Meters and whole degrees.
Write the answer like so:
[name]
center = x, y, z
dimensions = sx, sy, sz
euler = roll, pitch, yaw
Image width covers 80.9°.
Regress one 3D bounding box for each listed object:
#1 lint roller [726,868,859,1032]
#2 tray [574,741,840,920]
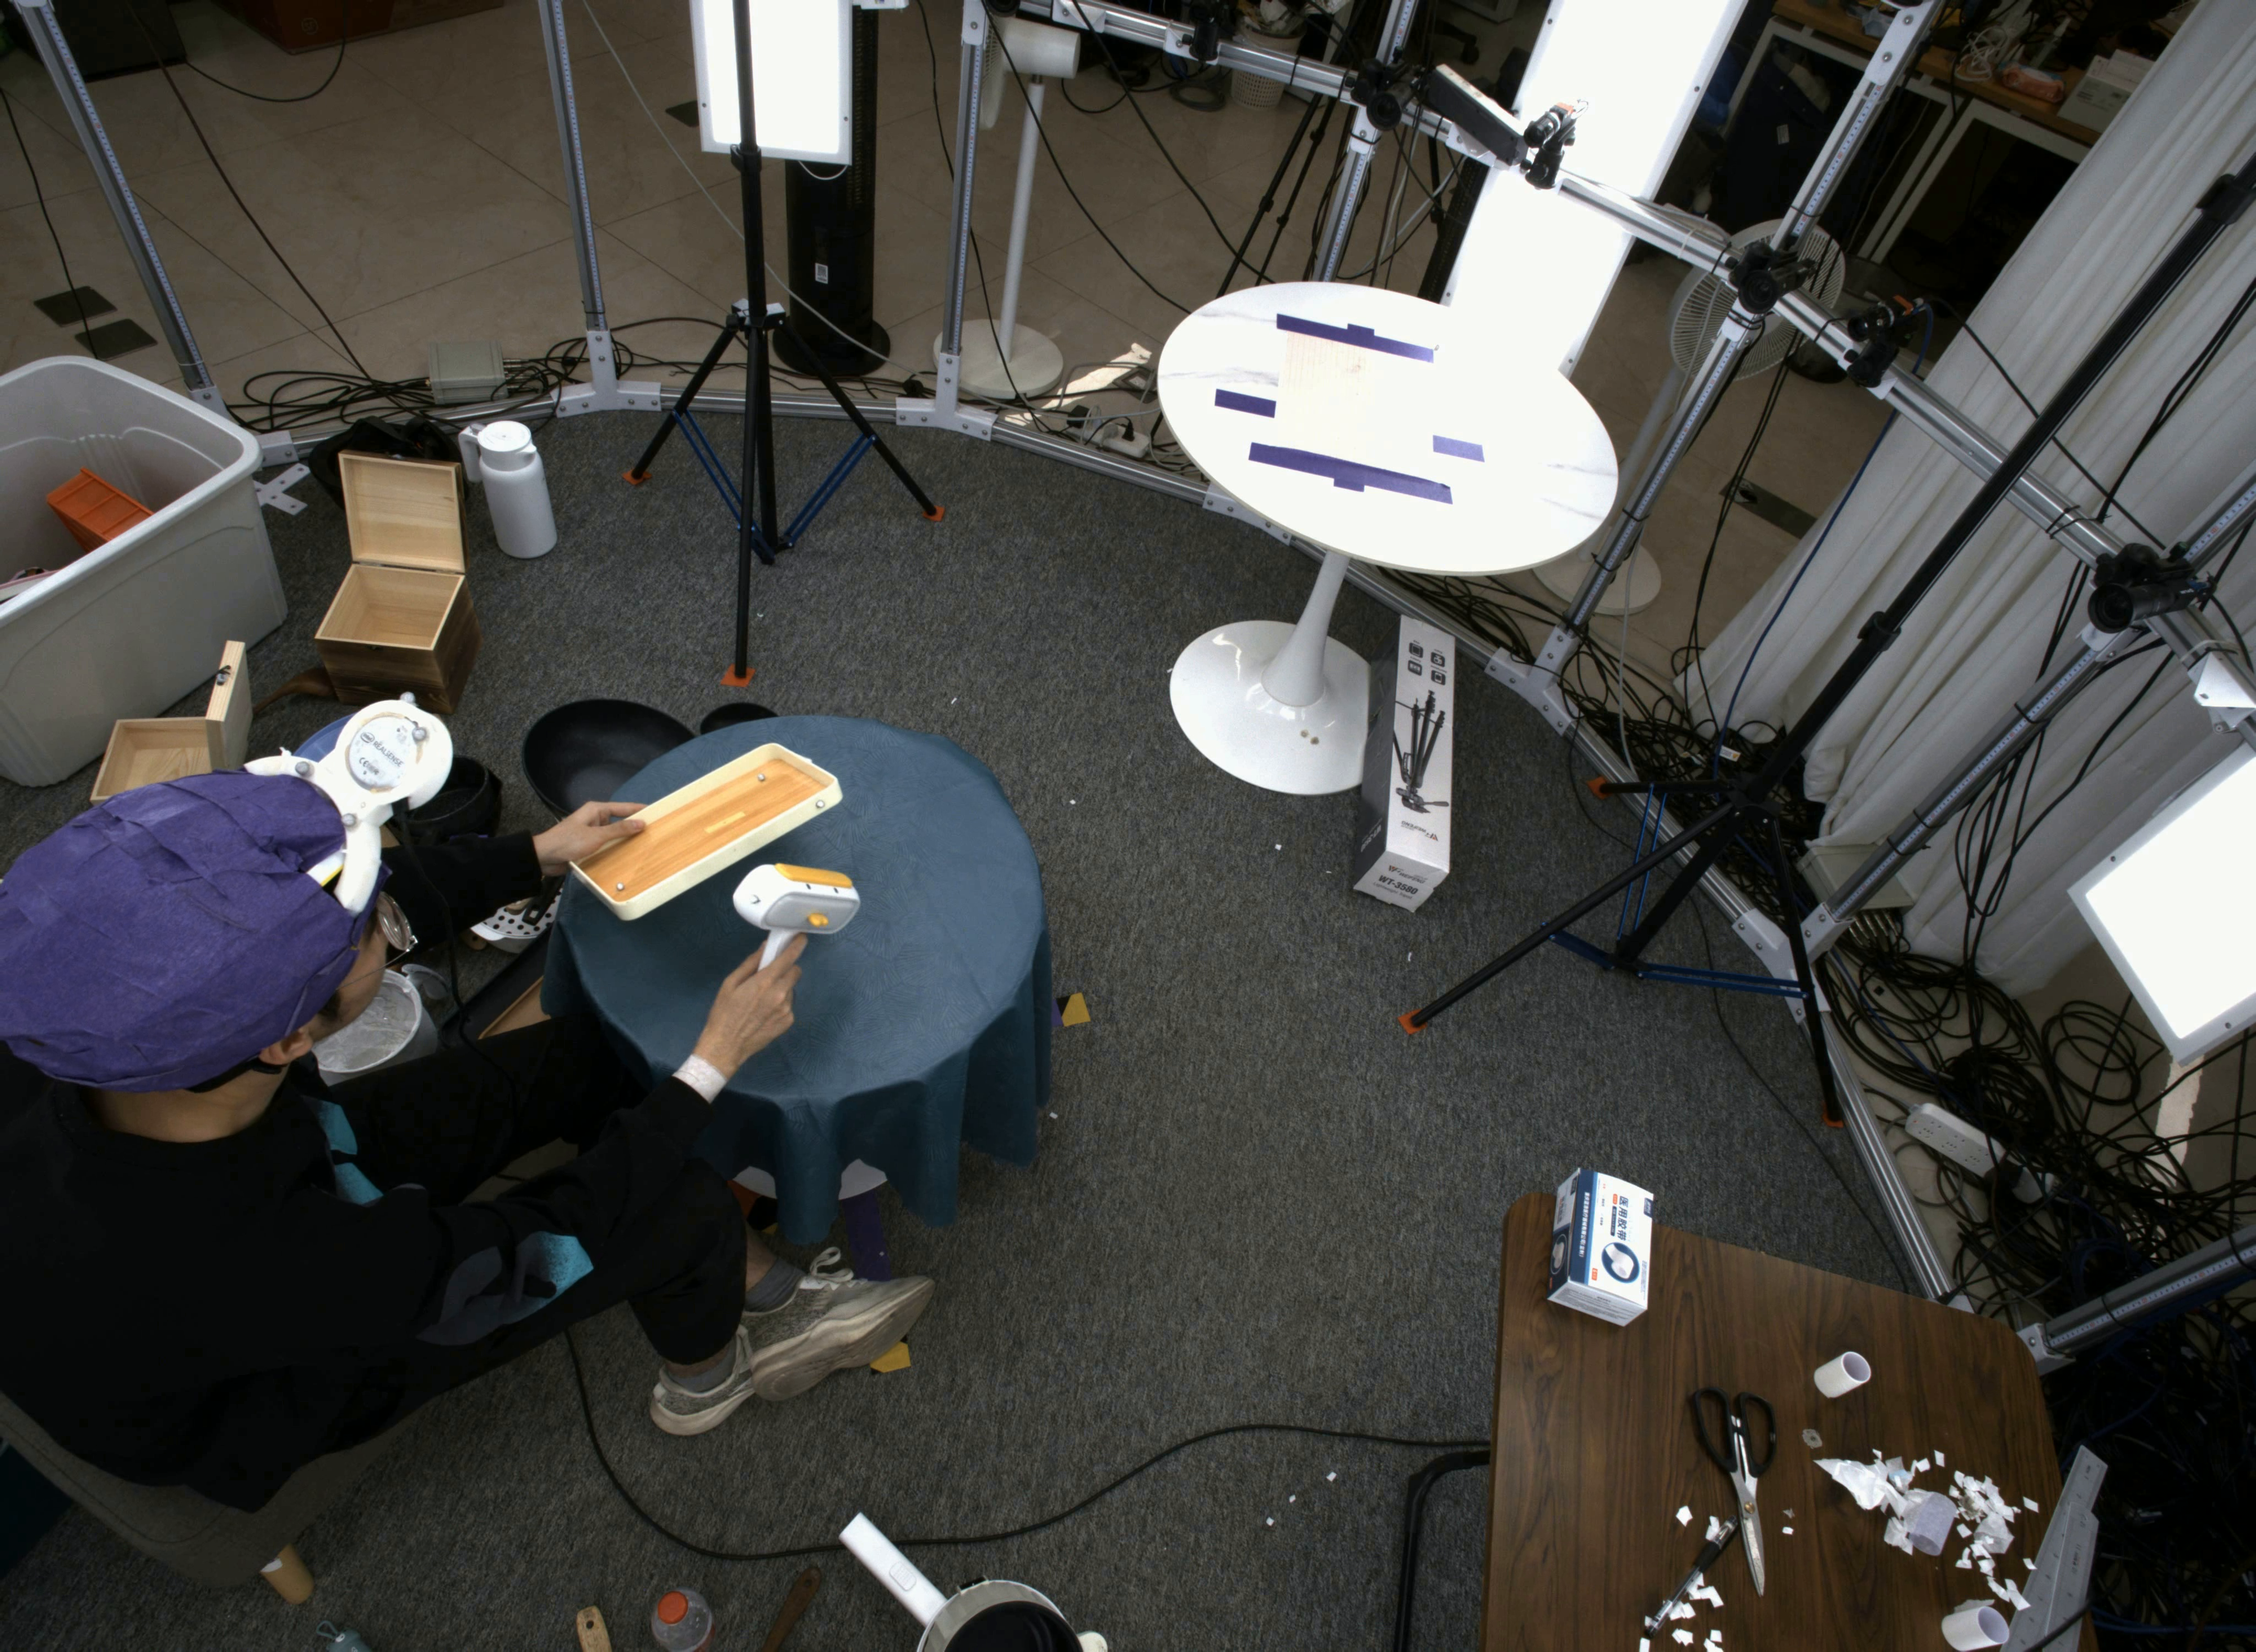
[lint roller]
center = -0.397, 0.138, 1.479
dimensions = 0.072, 0.194, 0.195
euler = 31, 9, 16
[tray]
center = -0.511, -0.003, 1.552
dimensions = 0.301, 0.028, 0.184
euler = -34, 37, -28
